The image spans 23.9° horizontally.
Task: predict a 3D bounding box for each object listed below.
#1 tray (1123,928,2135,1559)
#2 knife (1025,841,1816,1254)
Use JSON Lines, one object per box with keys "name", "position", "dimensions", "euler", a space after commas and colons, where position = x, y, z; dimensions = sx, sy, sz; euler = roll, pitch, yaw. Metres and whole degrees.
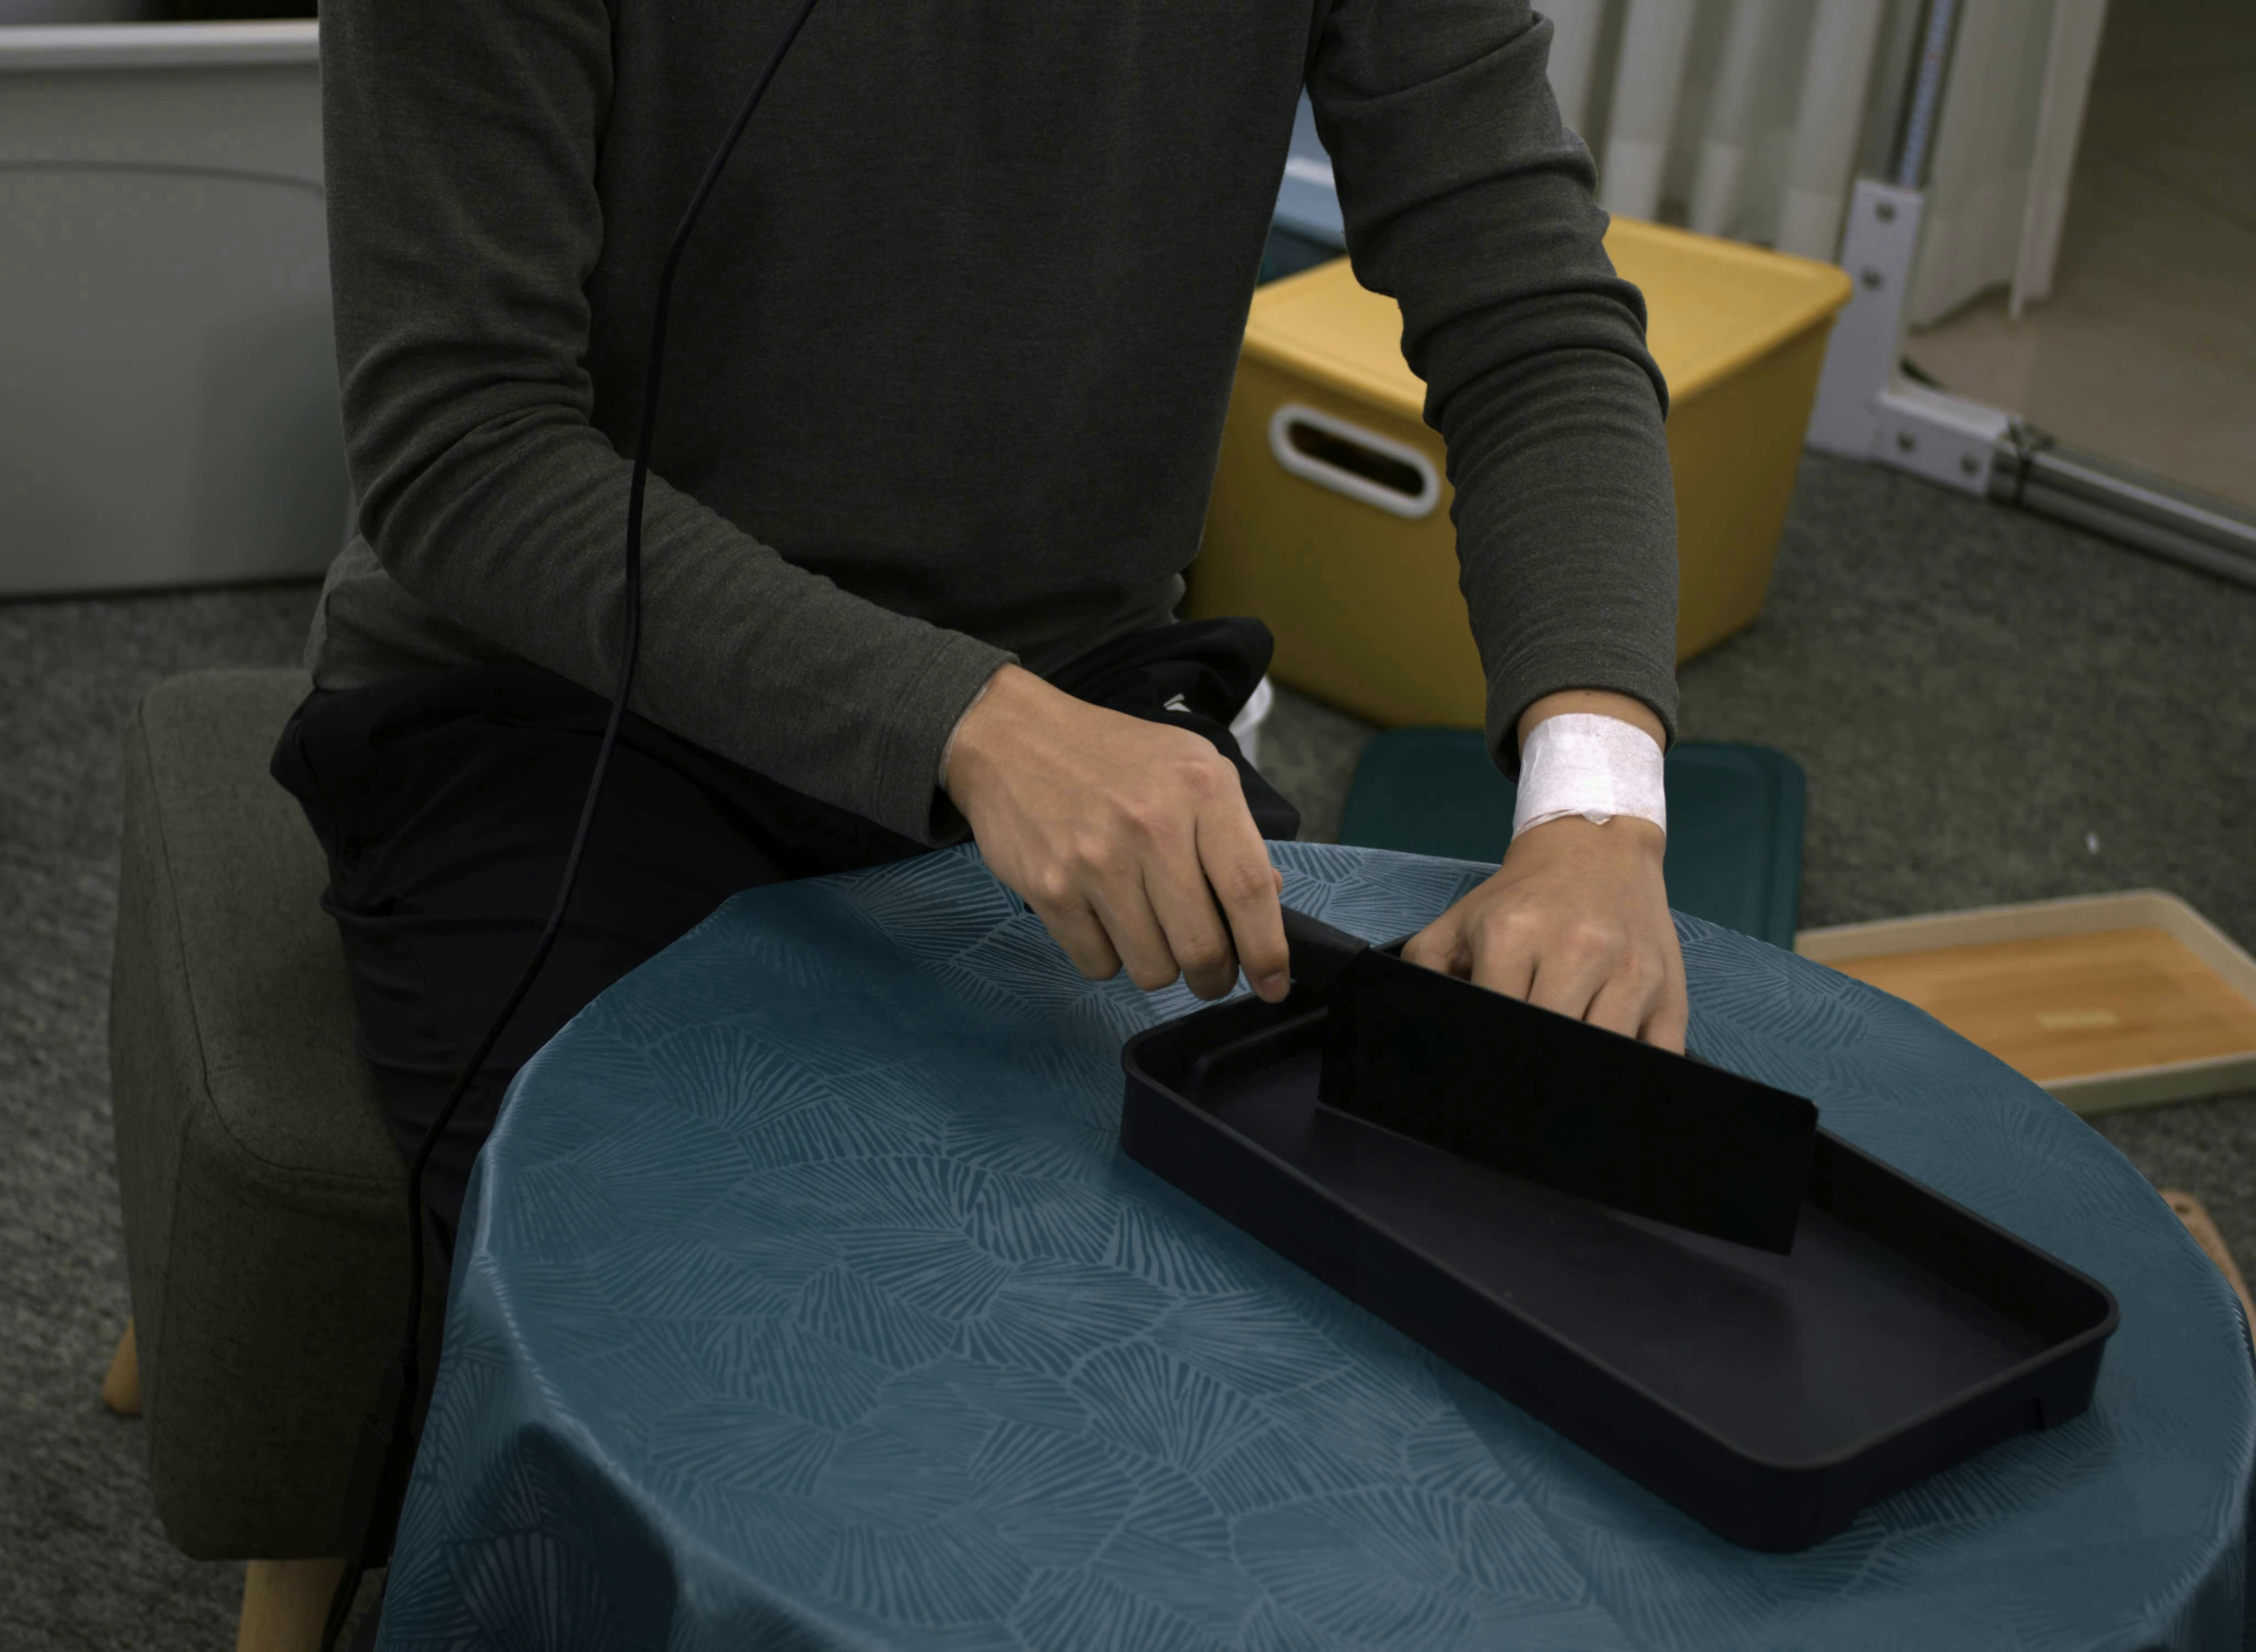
{"name": "tray", "position": [0.162, 0.133, 1.783], "dimensions": [0.183, 0.037, 0.320], "euler": [-19, 36, -41]}
{"name": "knife", "position": [0.097, 0.072, 1.833], "dimensions": [0.303, 0.081, 0.021], "euler": [23, 28, 22]}
